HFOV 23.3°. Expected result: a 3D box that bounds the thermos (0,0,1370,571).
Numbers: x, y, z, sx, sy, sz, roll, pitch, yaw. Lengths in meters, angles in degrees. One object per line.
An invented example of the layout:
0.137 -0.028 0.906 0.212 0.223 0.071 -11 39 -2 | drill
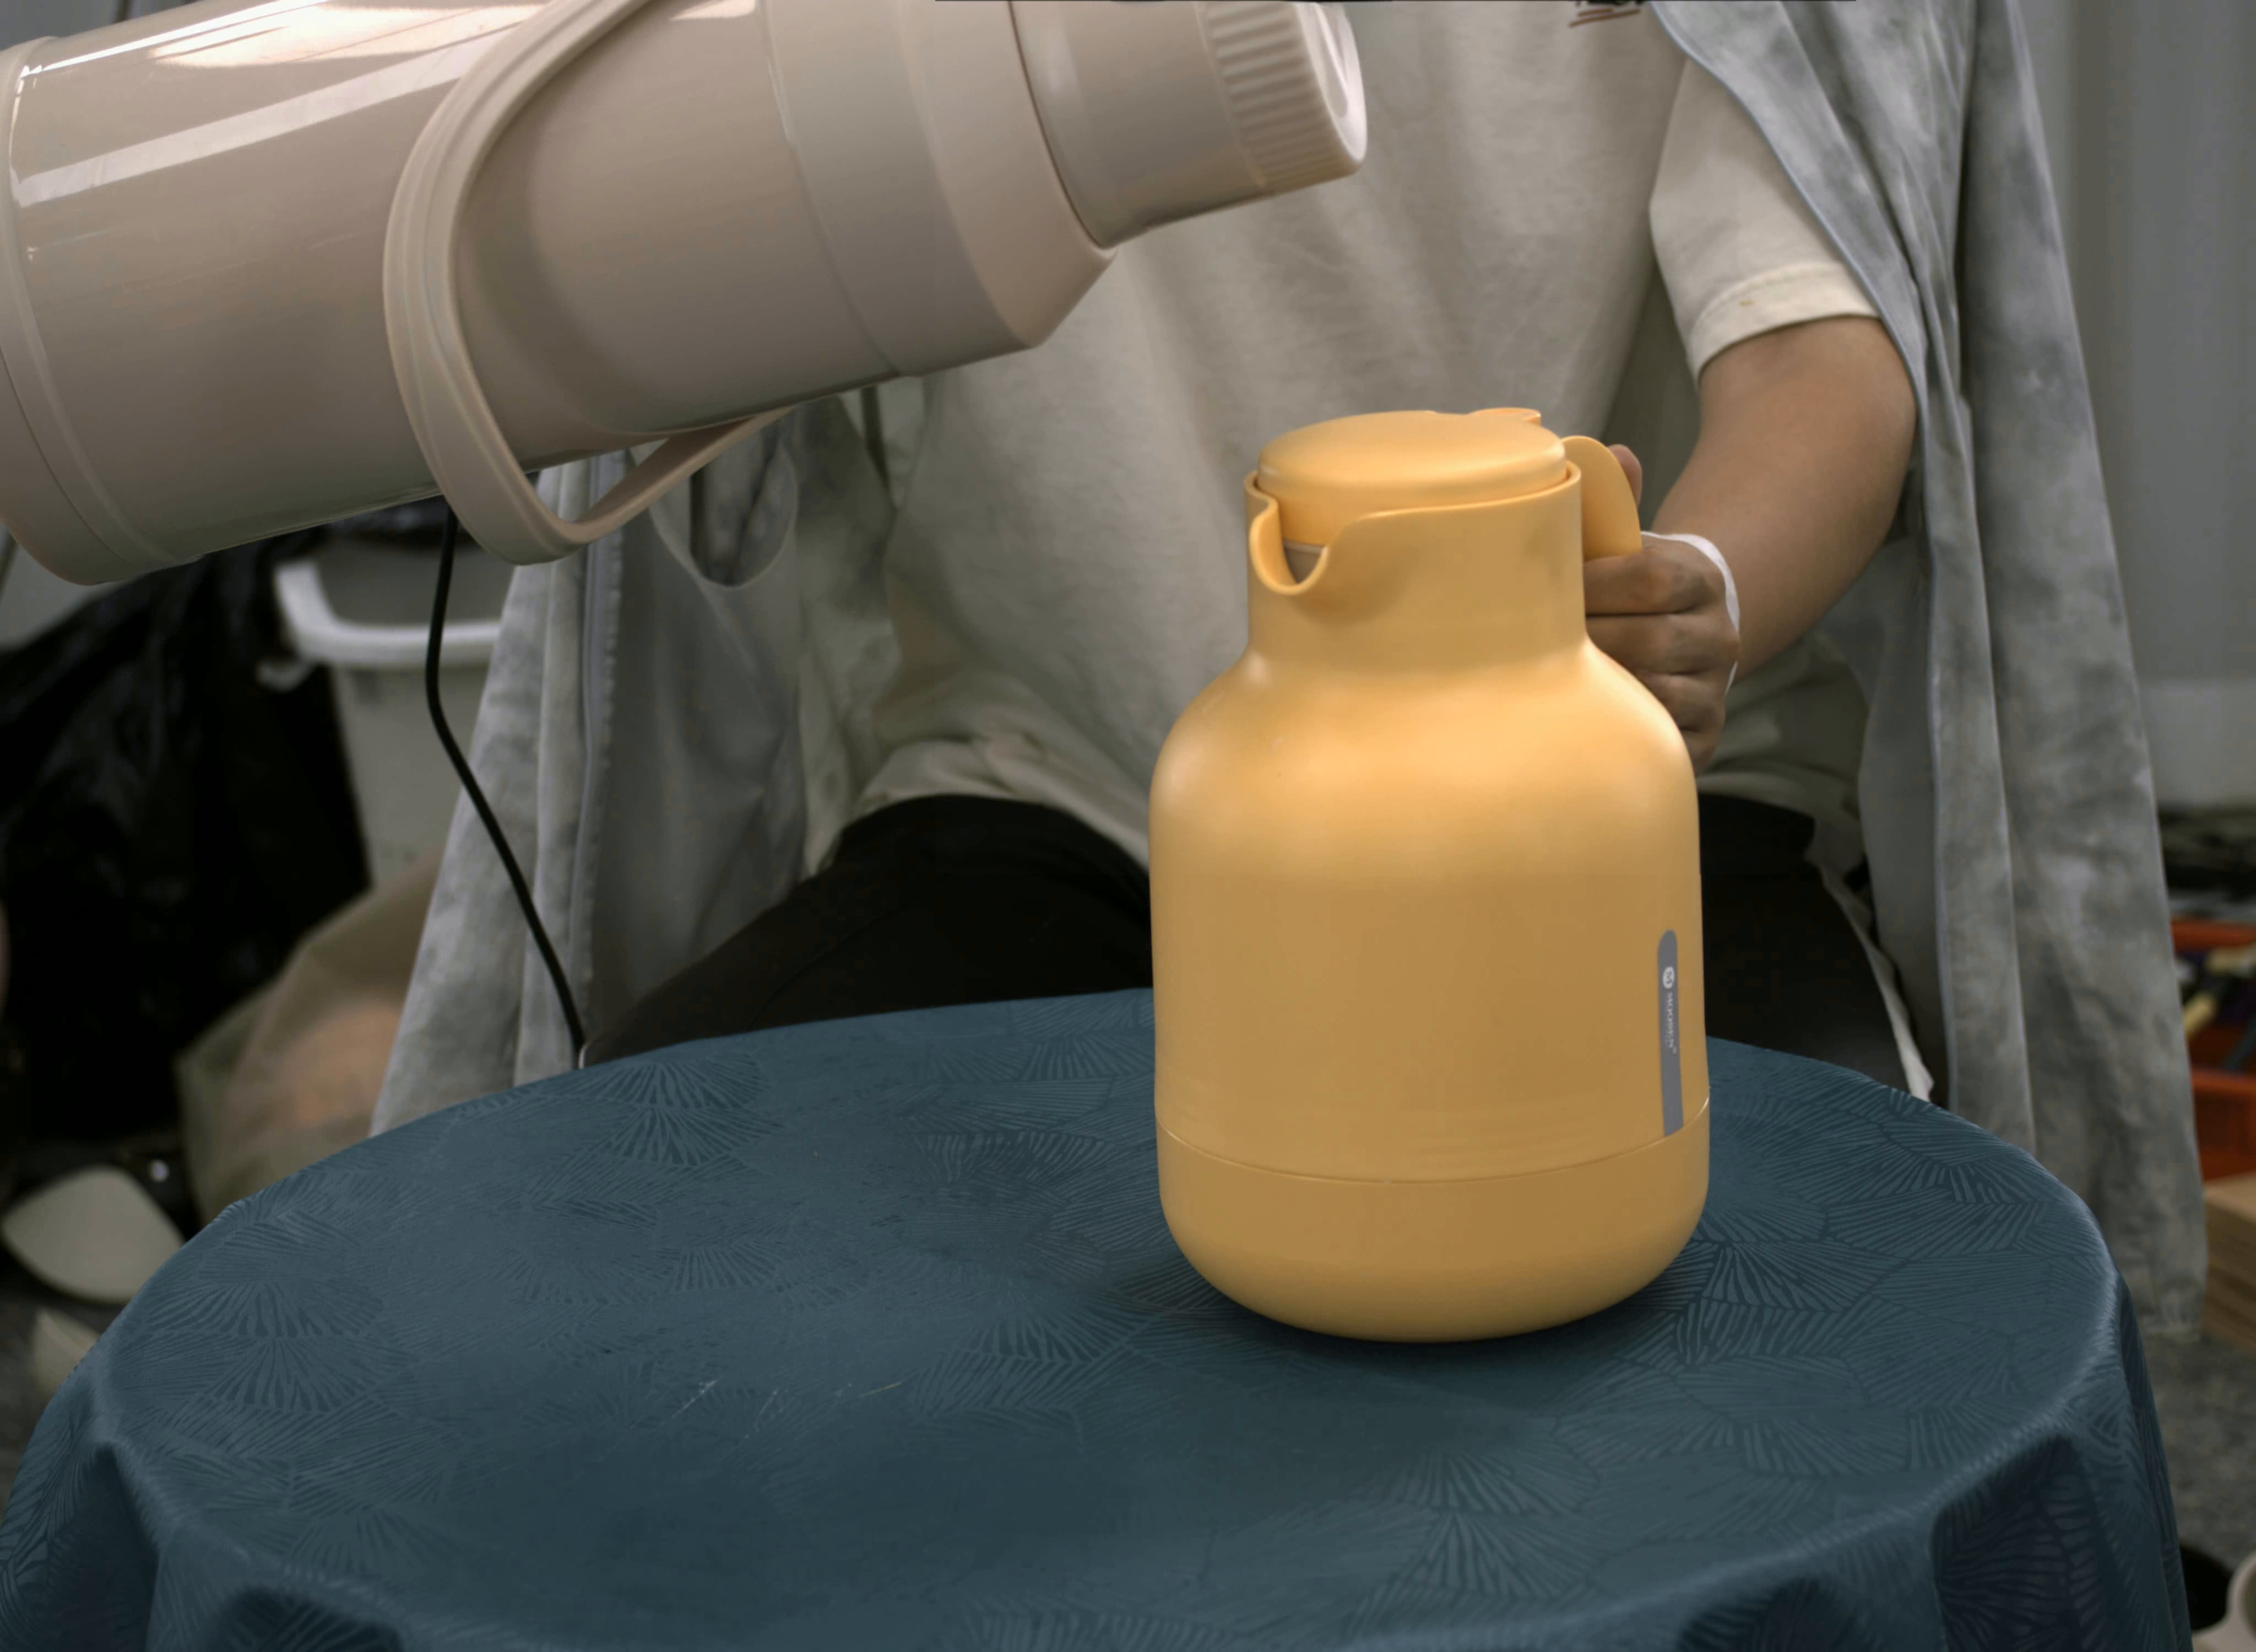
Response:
-0.137 -0.203 1.596 0.405 0.173 0.210 -13 49 13 | thermos

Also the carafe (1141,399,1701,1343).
0.096 0.005 1.609 0.164 0.259 0.202 9 19 33 | carafe
